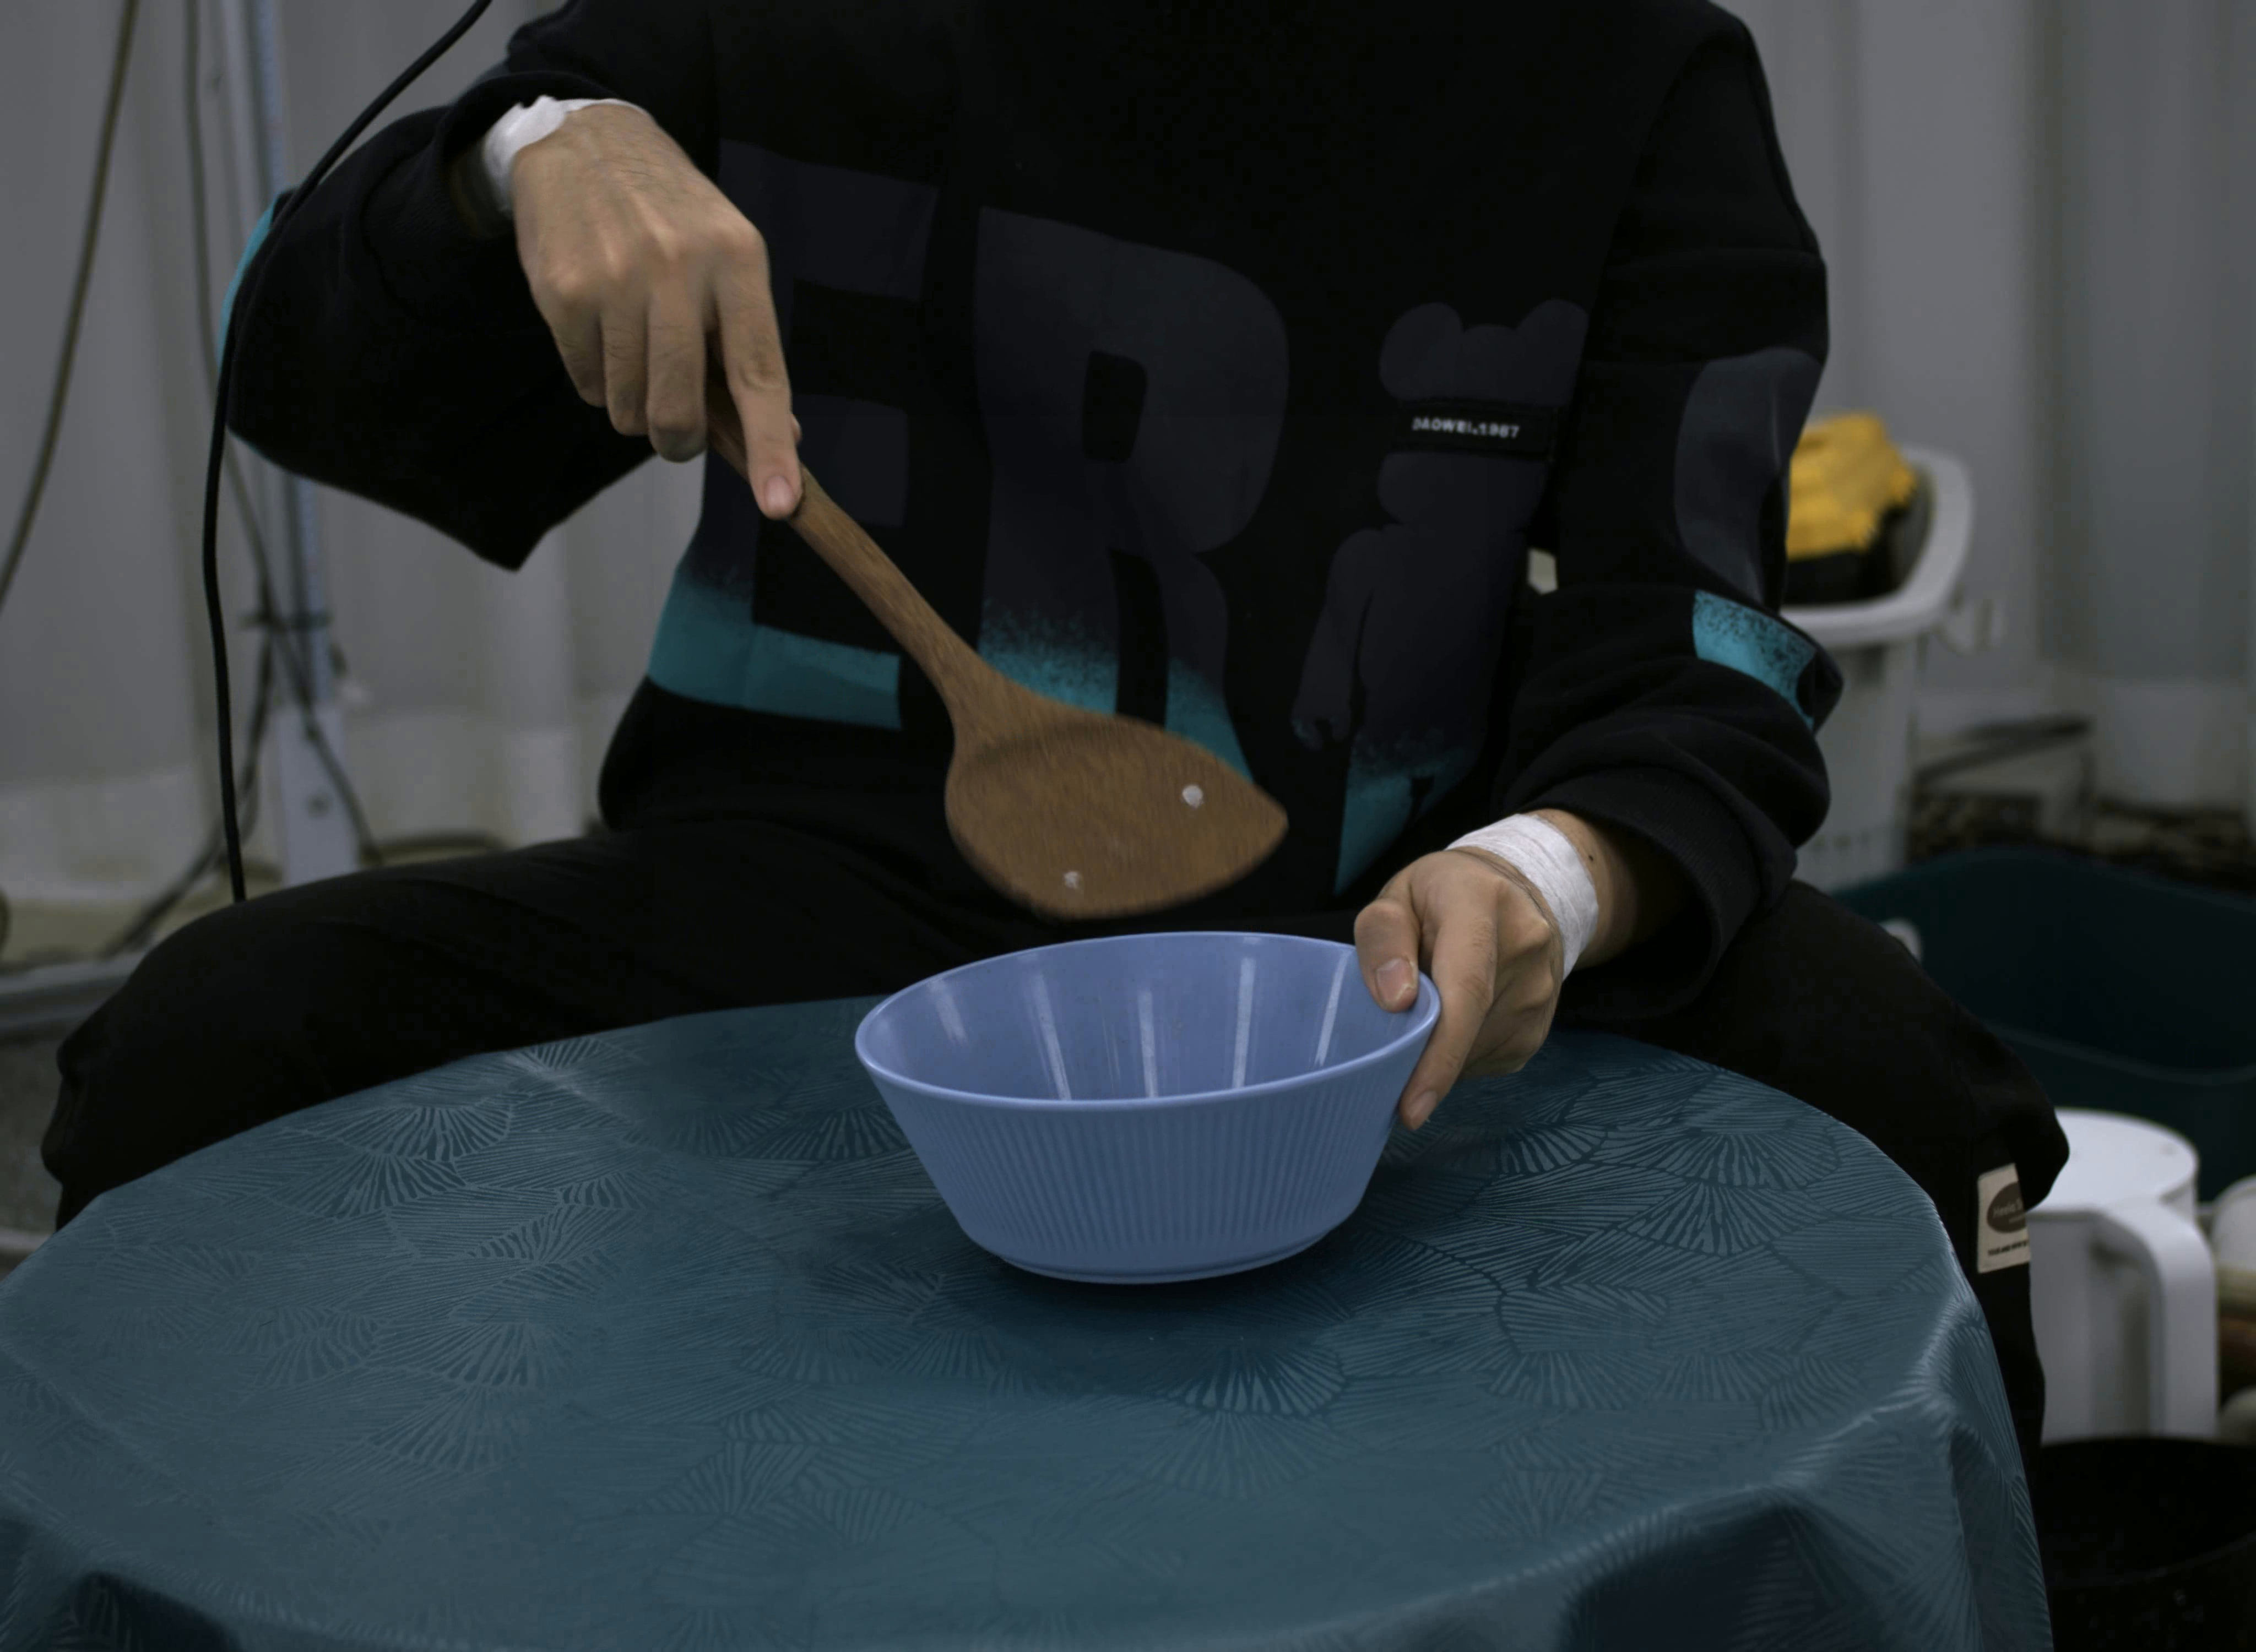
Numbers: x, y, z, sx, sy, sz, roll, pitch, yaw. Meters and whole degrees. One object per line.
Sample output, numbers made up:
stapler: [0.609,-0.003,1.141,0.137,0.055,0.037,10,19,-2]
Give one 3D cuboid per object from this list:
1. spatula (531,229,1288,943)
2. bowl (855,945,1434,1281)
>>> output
spatula: [-0.088,-0.086,1.731,0.096,0.015,0.391,-18,48,-30]
bowl: [0.007,0.088,1.648,0.175,0.070,0.177,-3,13,0]
